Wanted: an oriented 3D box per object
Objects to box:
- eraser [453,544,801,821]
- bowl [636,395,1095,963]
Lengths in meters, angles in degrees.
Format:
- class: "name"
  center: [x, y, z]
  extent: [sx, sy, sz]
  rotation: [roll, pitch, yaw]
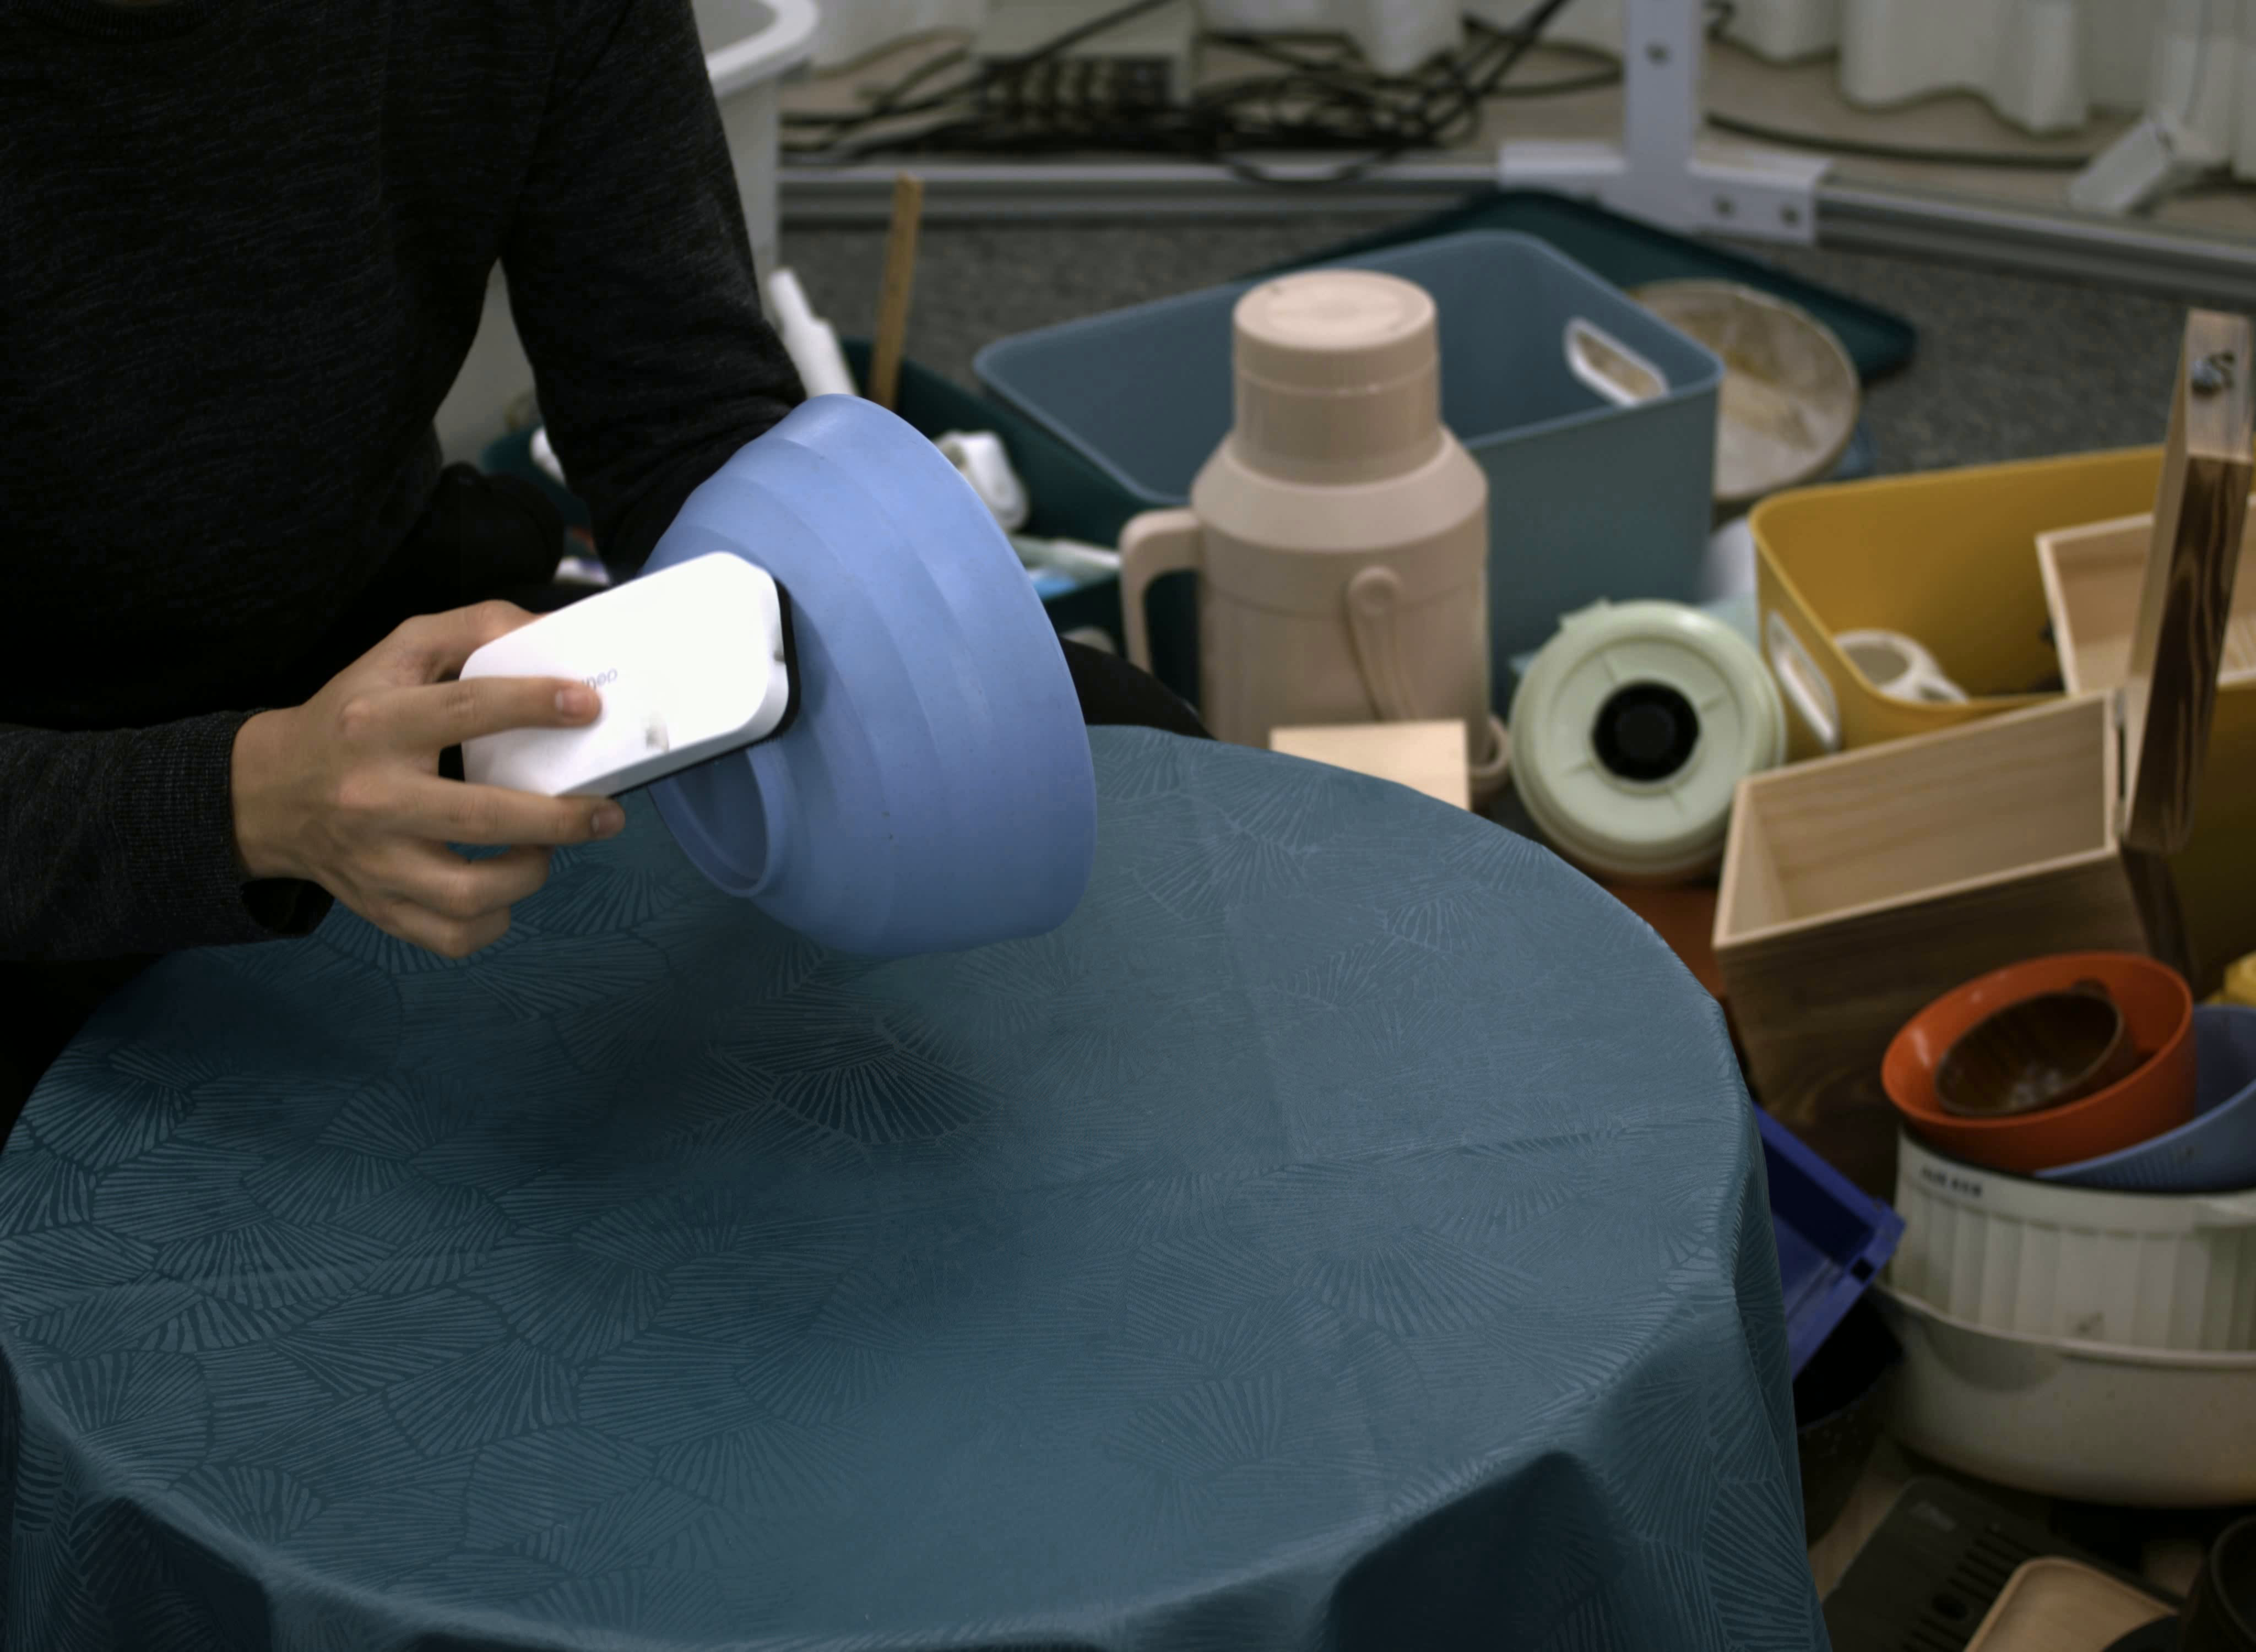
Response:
- class: "eraser"
  center: [-0.164, -0.046, 1.817]
  extent: [0.129, 0.064, 0.034]
  rotation: [-19, -25, 30]
- class: "bowl"
  center: [-0.106, -0.035, 1.870]
  extent: [0.096, 0.194, 0.197]
  rotation: [-24, 34, -27]
